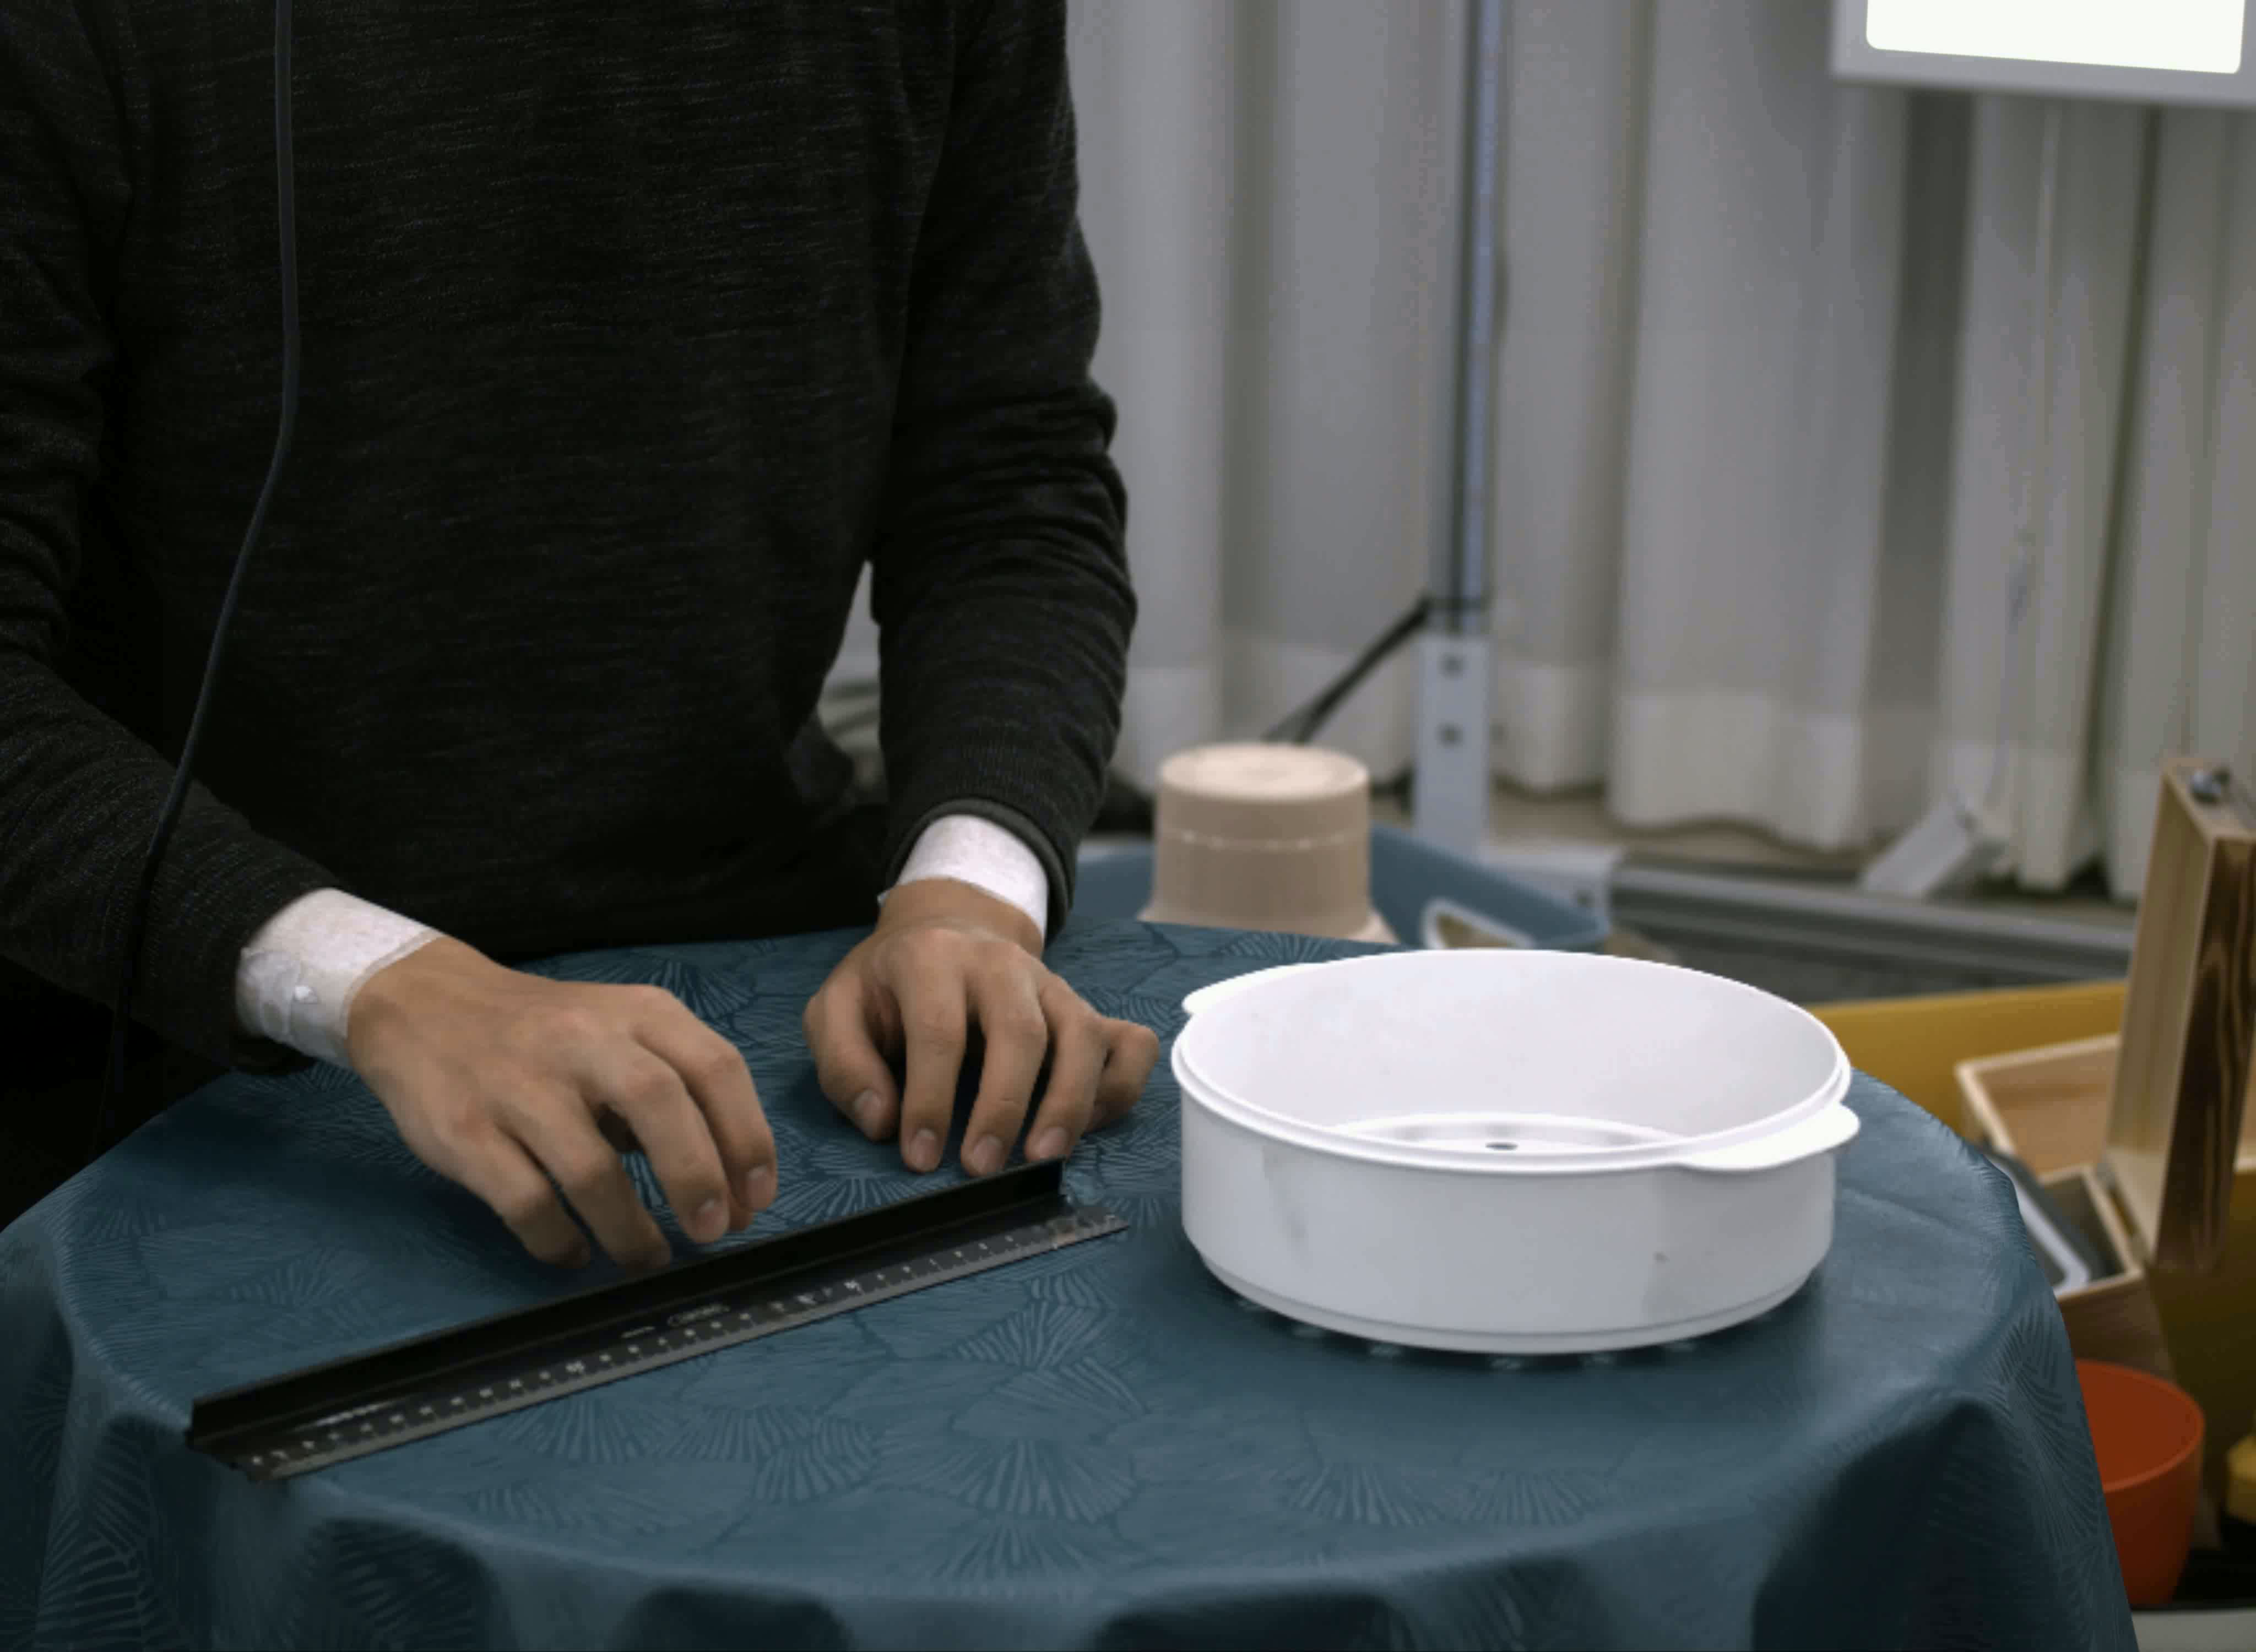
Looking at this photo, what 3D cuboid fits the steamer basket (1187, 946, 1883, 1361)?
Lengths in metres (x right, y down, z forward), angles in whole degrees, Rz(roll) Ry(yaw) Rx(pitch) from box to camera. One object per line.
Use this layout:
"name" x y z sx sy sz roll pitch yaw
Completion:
"steamer basket" 0.116 0.096 1.554 0.227 0.070 0.203 18 23 41

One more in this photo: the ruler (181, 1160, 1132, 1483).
"ruler" -0.126 0.137 1.497 0.314 0.017 0.039 -13 24 -40
